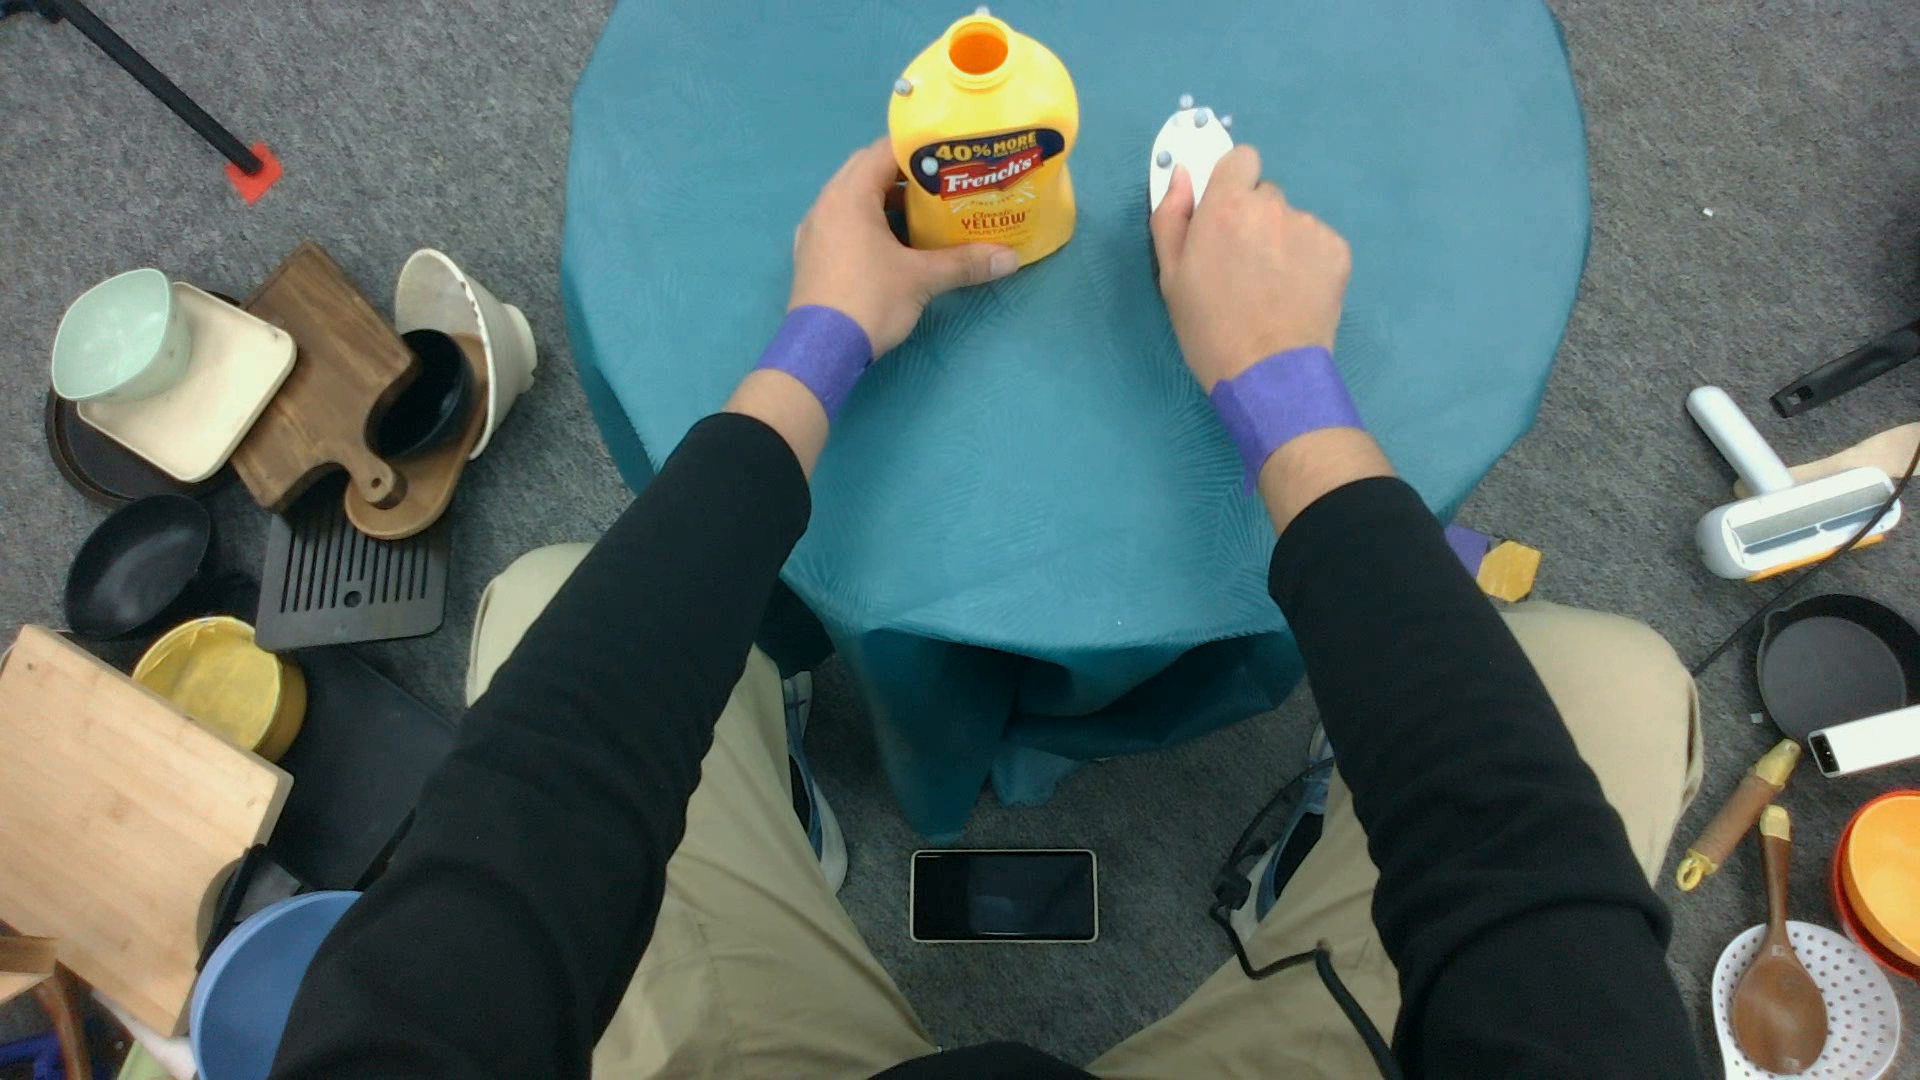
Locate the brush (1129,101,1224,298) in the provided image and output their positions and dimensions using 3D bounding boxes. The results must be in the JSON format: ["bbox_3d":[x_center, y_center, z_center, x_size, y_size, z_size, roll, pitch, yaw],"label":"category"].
[{"bbox_3d":[0.119,-0.192,0.751,0.050,0.072,0.099,-2,75,4],"label":"brush"}]

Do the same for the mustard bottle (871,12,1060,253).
[{"bbox_3d":[0.005,-0.212,0.721,0.098,0.171,0.059,-10,77,-2],"label":"mustard bottle"}]
